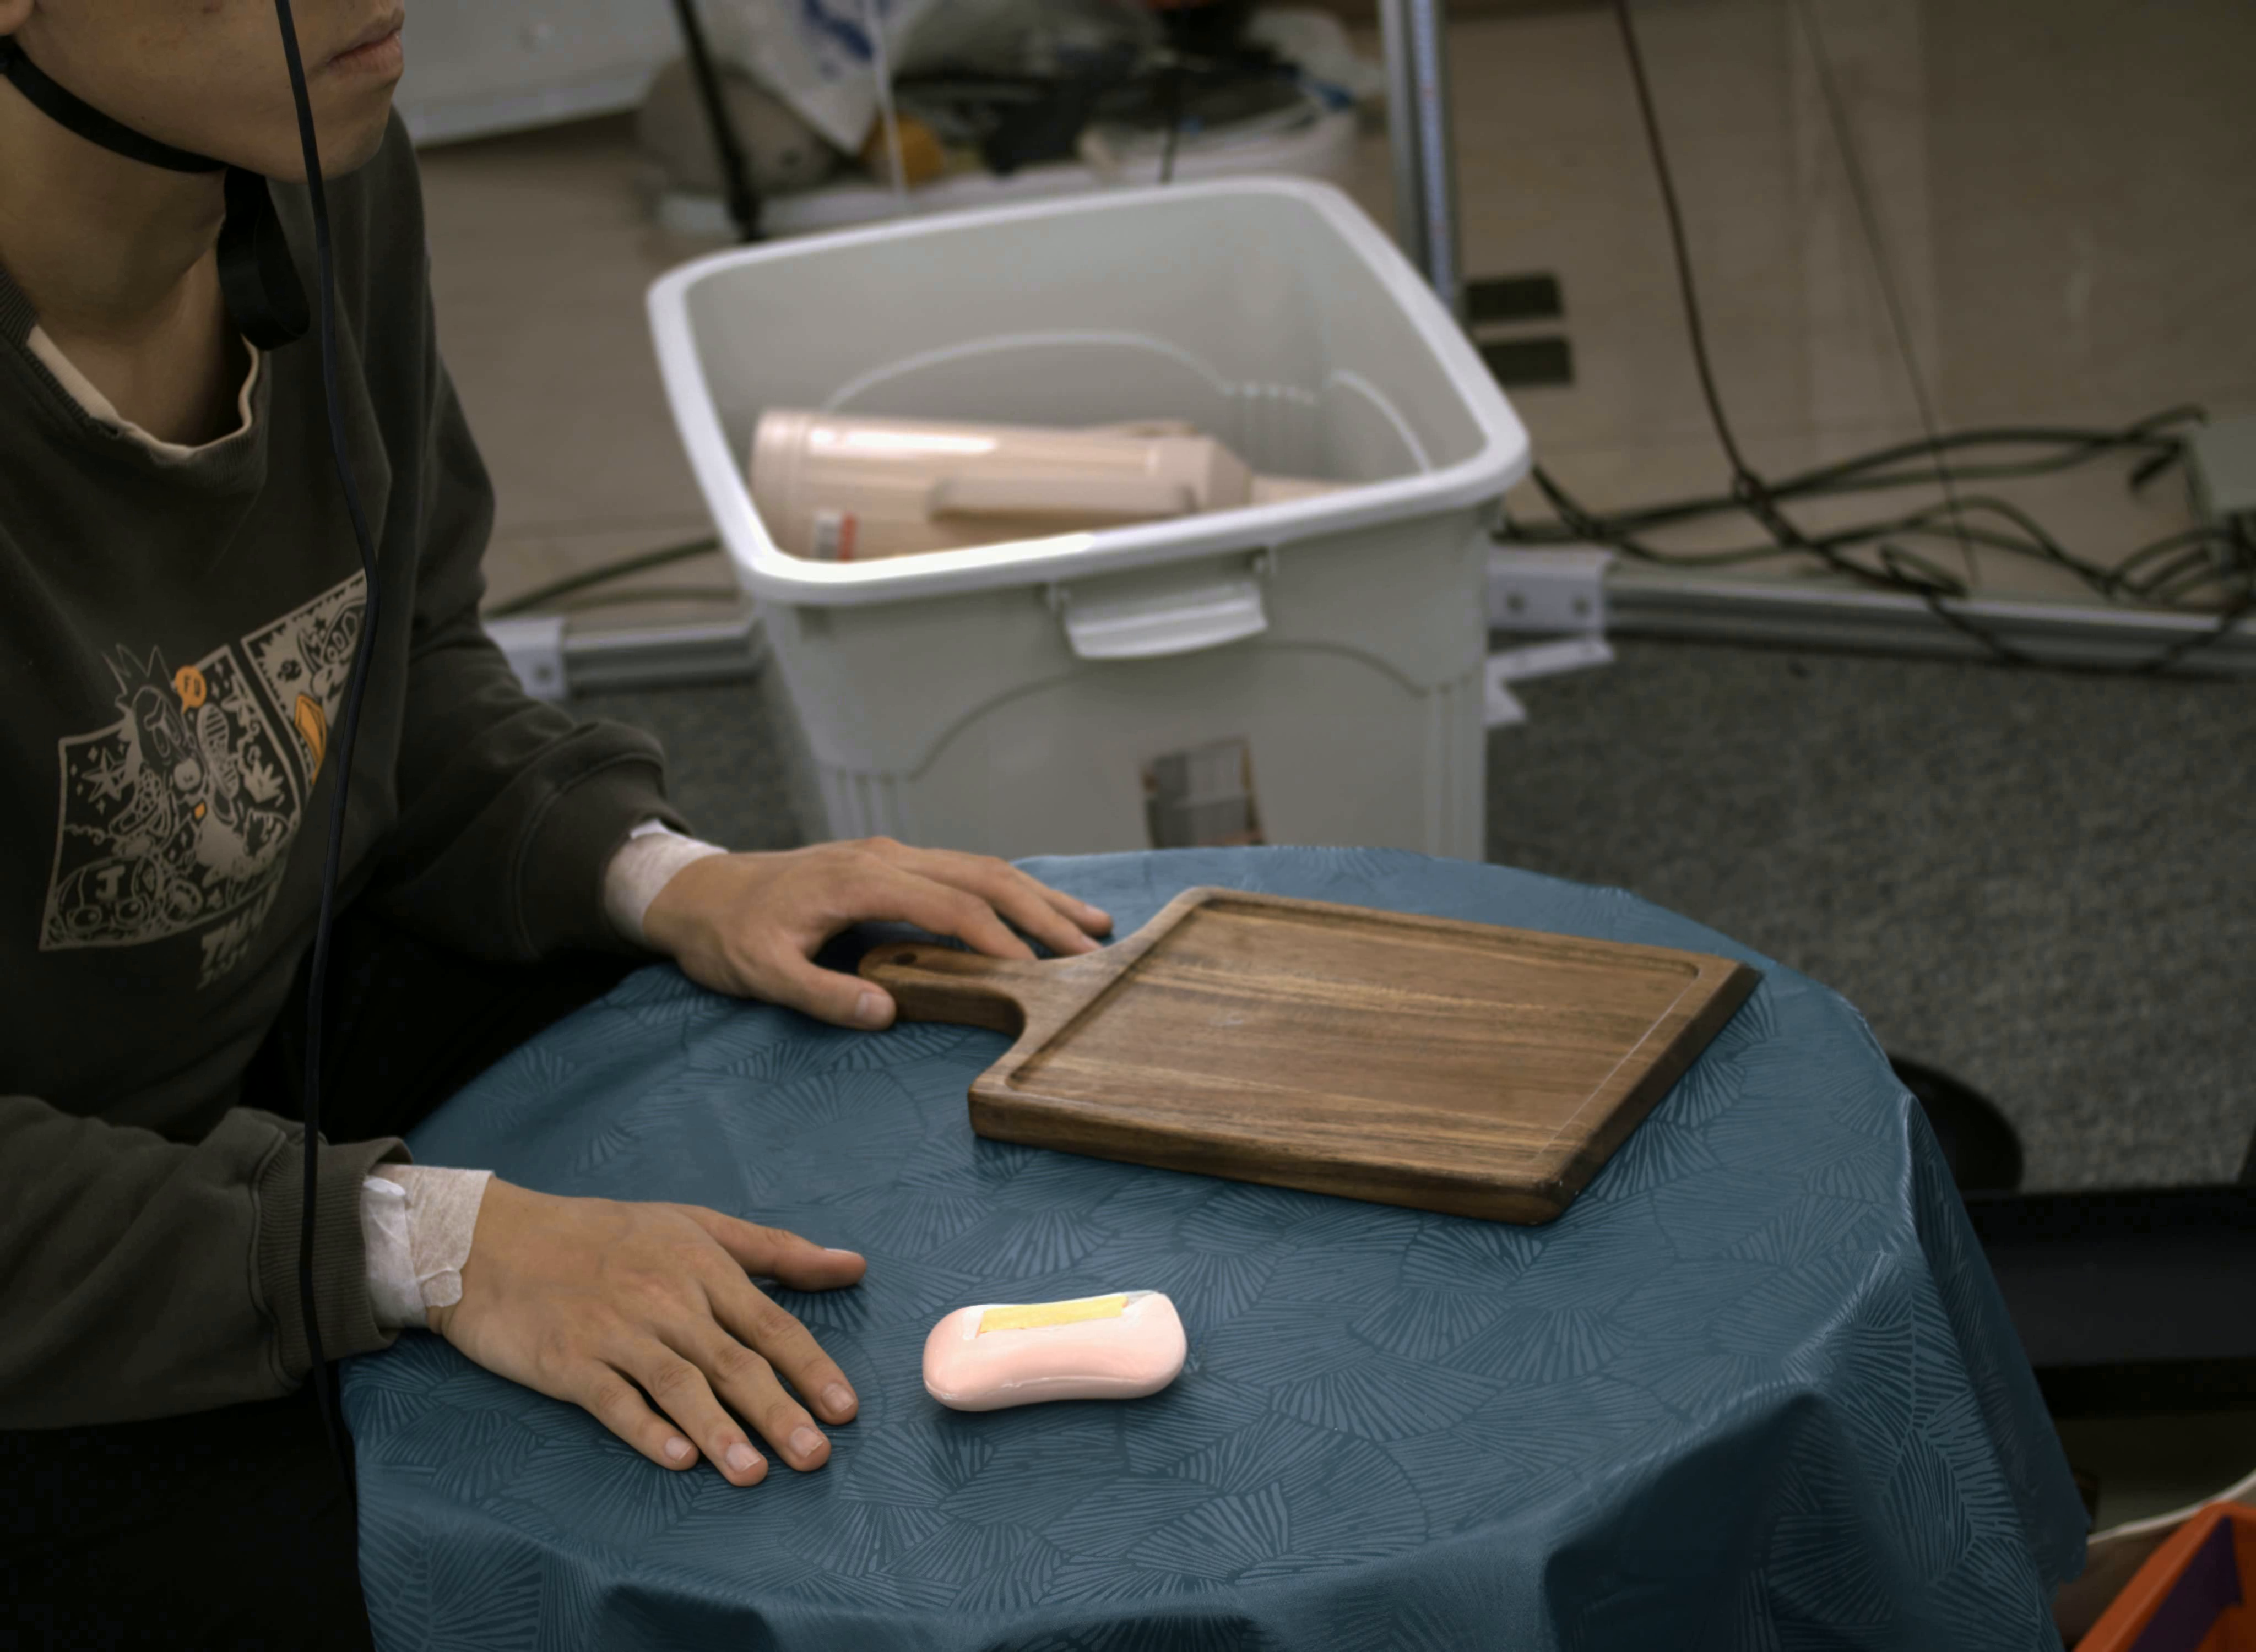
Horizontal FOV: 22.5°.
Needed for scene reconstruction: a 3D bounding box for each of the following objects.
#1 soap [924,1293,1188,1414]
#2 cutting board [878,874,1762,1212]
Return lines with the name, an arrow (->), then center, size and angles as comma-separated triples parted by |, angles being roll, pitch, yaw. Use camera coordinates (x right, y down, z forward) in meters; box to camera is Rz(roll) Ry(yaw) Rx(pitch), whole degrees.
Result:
soap -> -0.025, 0.188, 2.016 | 0.094, 0.031, 0.049 | -6, 25, 5
cutting board -> 0.055, 0.075, 2.244 | 0.350, 0.023, 0.198 | 8, 29, 29
